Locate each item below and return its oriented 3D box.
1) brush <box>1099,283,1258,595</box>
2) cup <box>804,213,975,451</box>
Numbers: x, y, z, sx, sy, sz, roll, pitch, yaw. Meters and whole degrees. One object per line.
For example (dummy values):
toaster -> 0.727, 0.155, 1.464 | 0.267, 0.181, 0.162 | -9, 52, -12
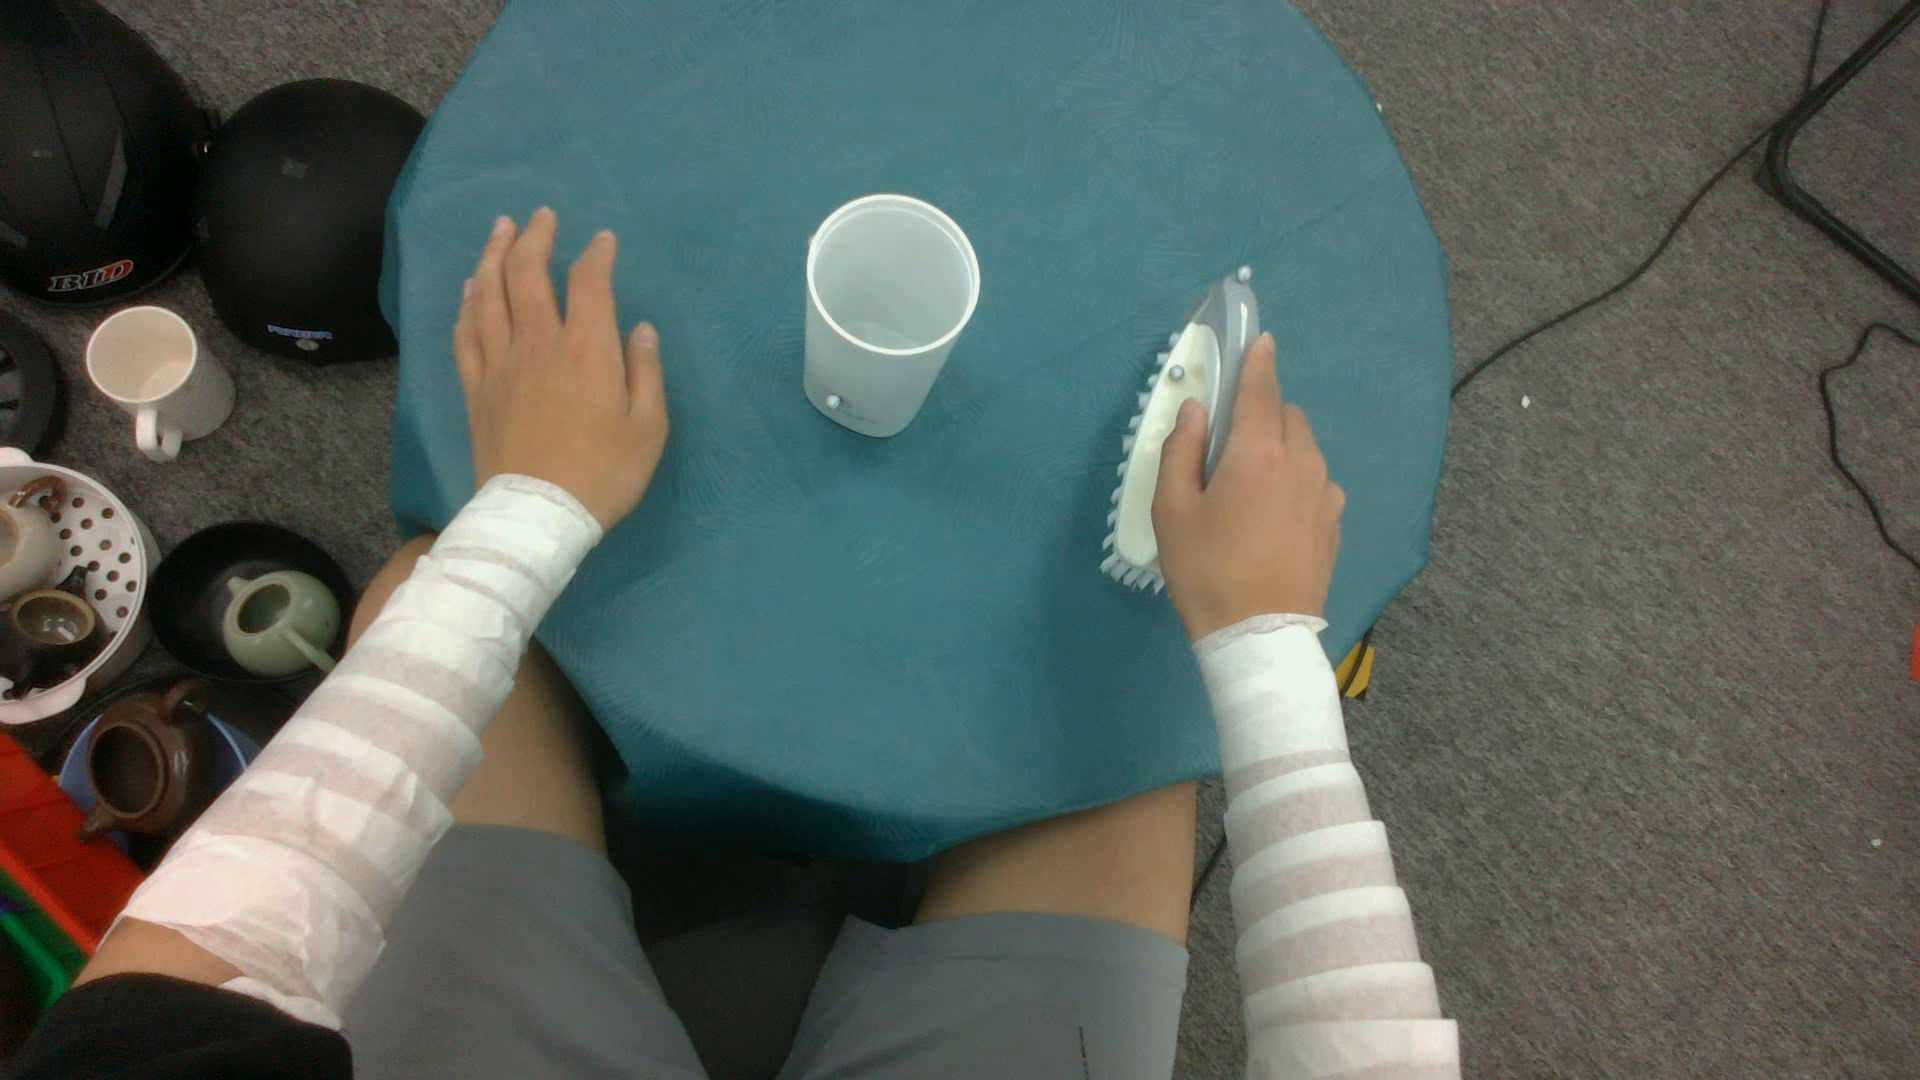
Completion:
brush -> 0.125, -0.064, 0.724 | 0.061, 0.094, 0.176 | 17, 74, -11
cup -> -0.043, -0.101, 0.712 | 0.082, 0.125, 0.082 | 3, 72, -9
